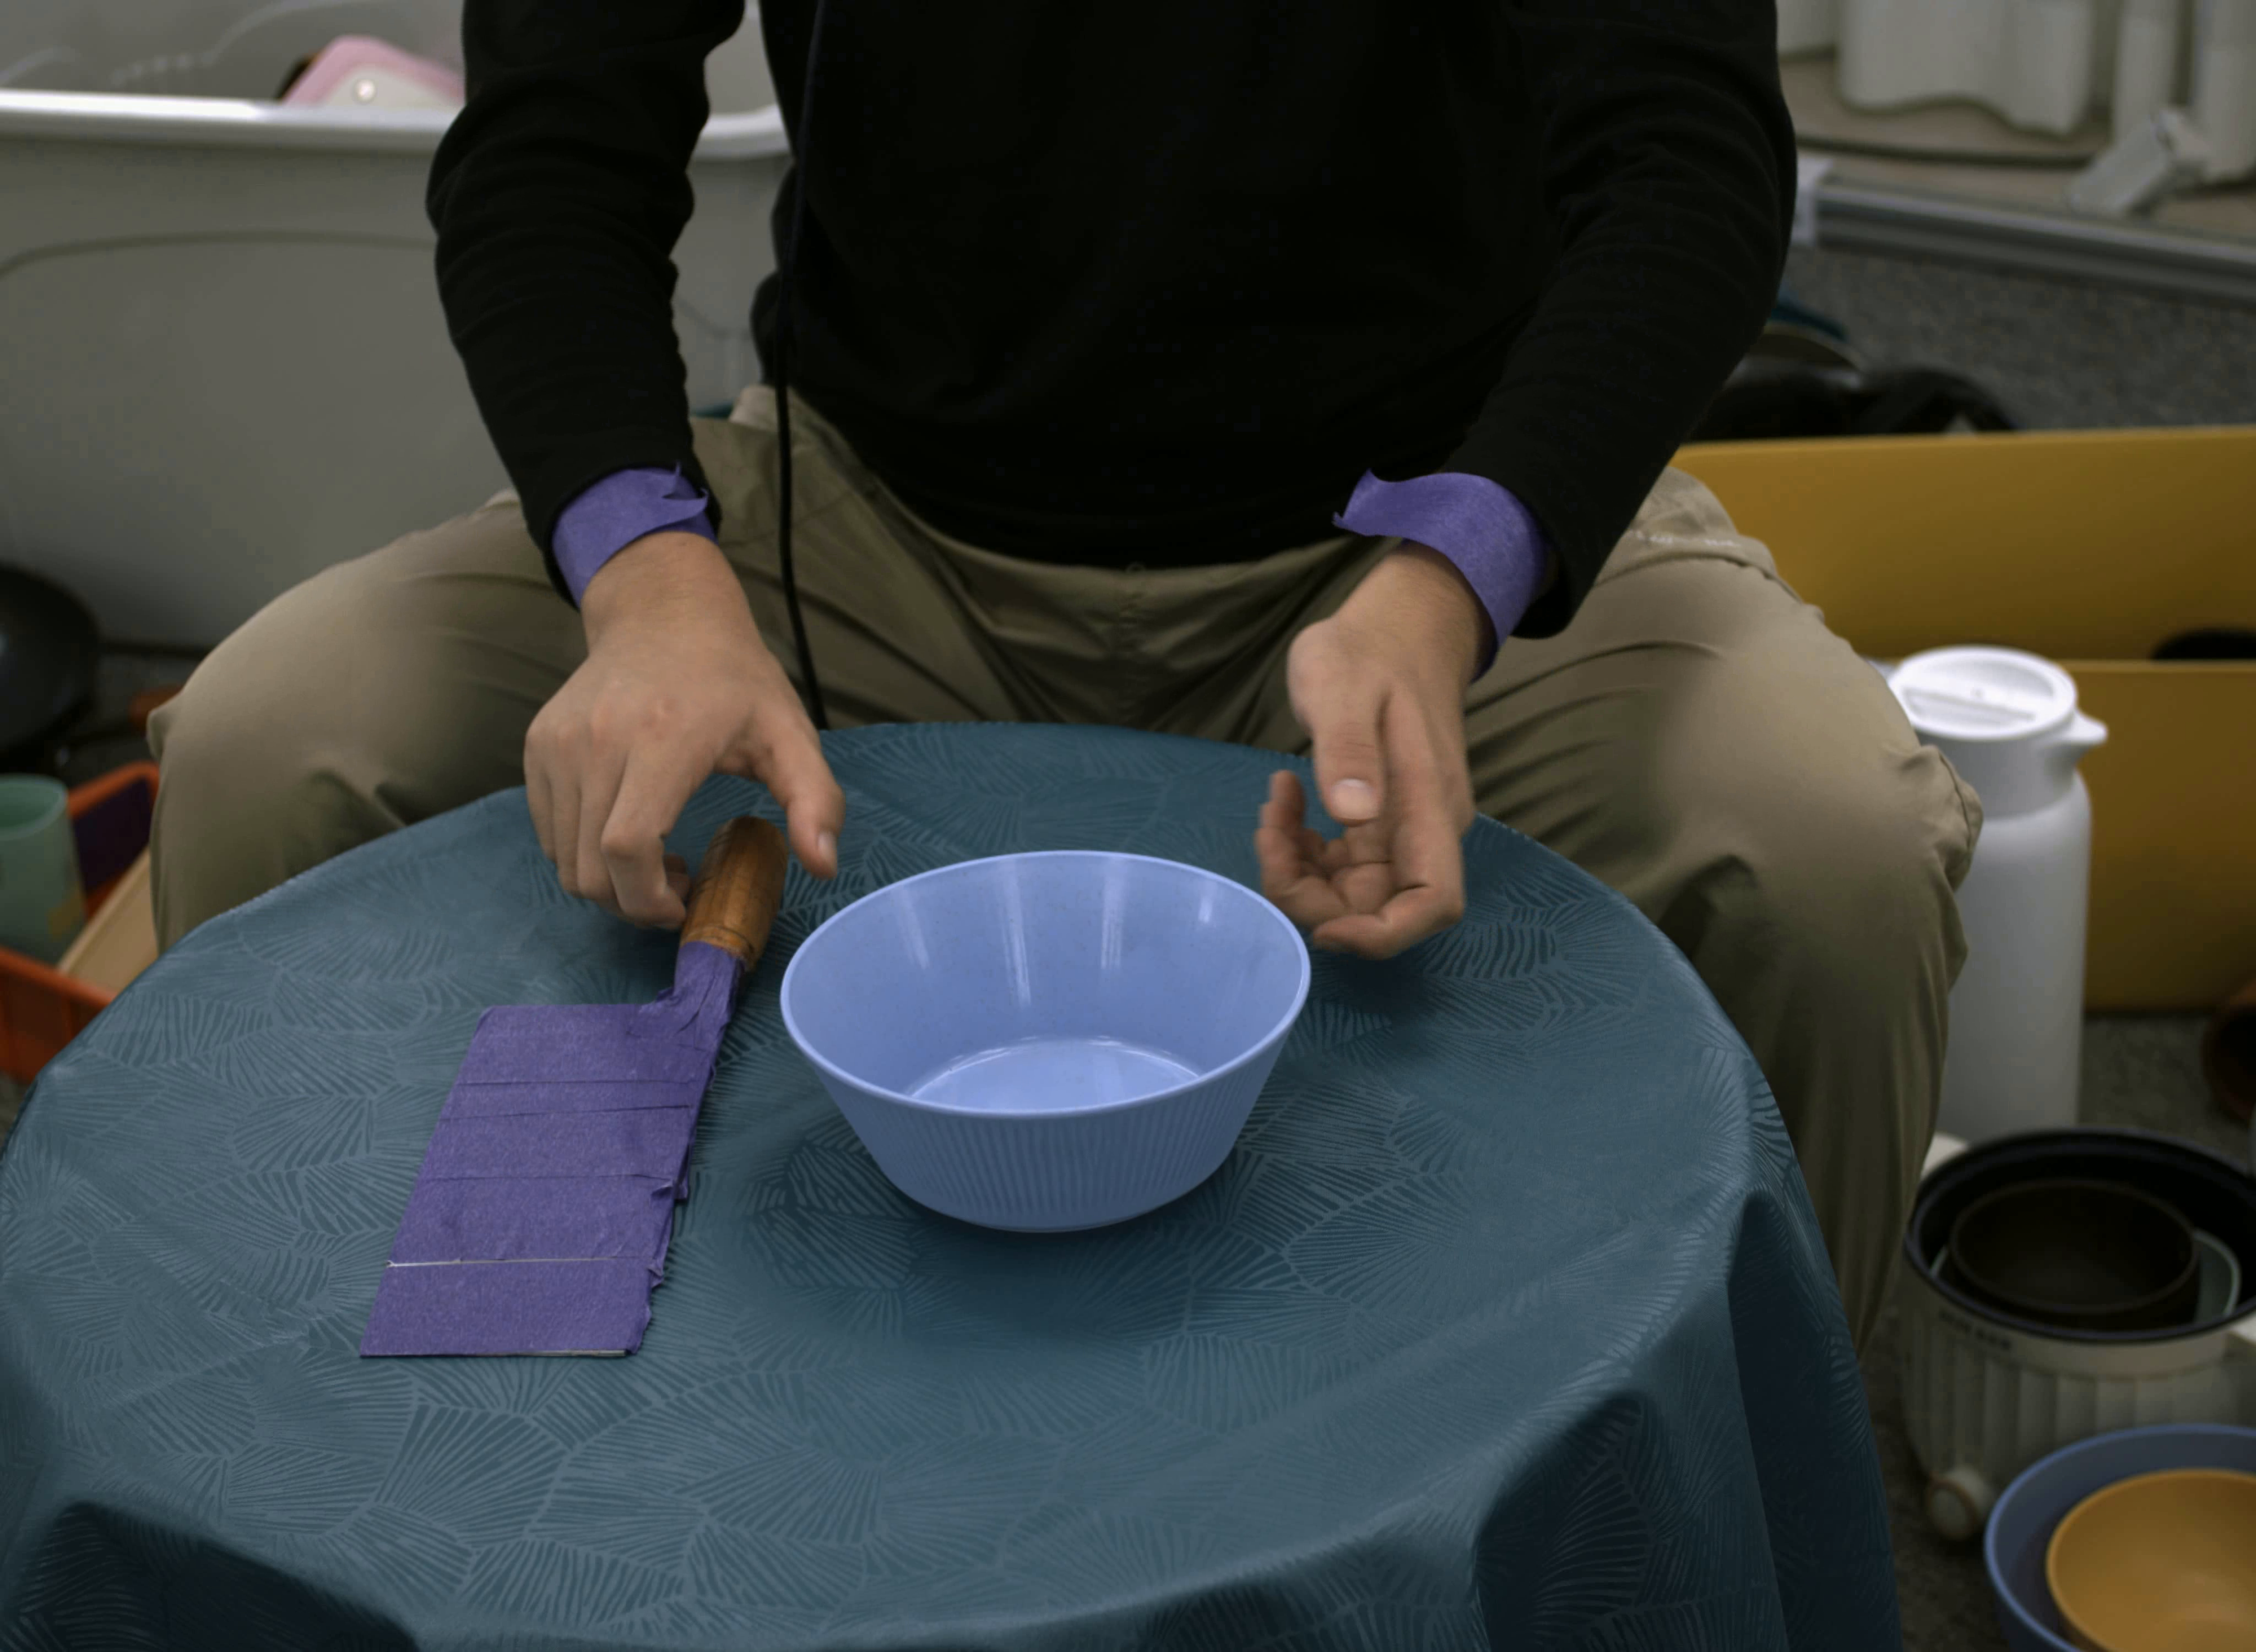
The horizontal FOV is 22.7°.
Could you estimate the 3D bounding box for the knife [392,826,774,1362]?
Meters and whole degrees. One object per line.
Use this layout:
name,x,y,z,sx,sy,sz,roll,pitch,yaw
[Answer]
knife,-0.185,0.087,1.915,0.103,0.032,0.320,0,28,5

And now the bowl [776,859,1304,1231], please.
bowl,-0.029,0.079,1.869,0.175,0.069,0.179,-1,27,1
